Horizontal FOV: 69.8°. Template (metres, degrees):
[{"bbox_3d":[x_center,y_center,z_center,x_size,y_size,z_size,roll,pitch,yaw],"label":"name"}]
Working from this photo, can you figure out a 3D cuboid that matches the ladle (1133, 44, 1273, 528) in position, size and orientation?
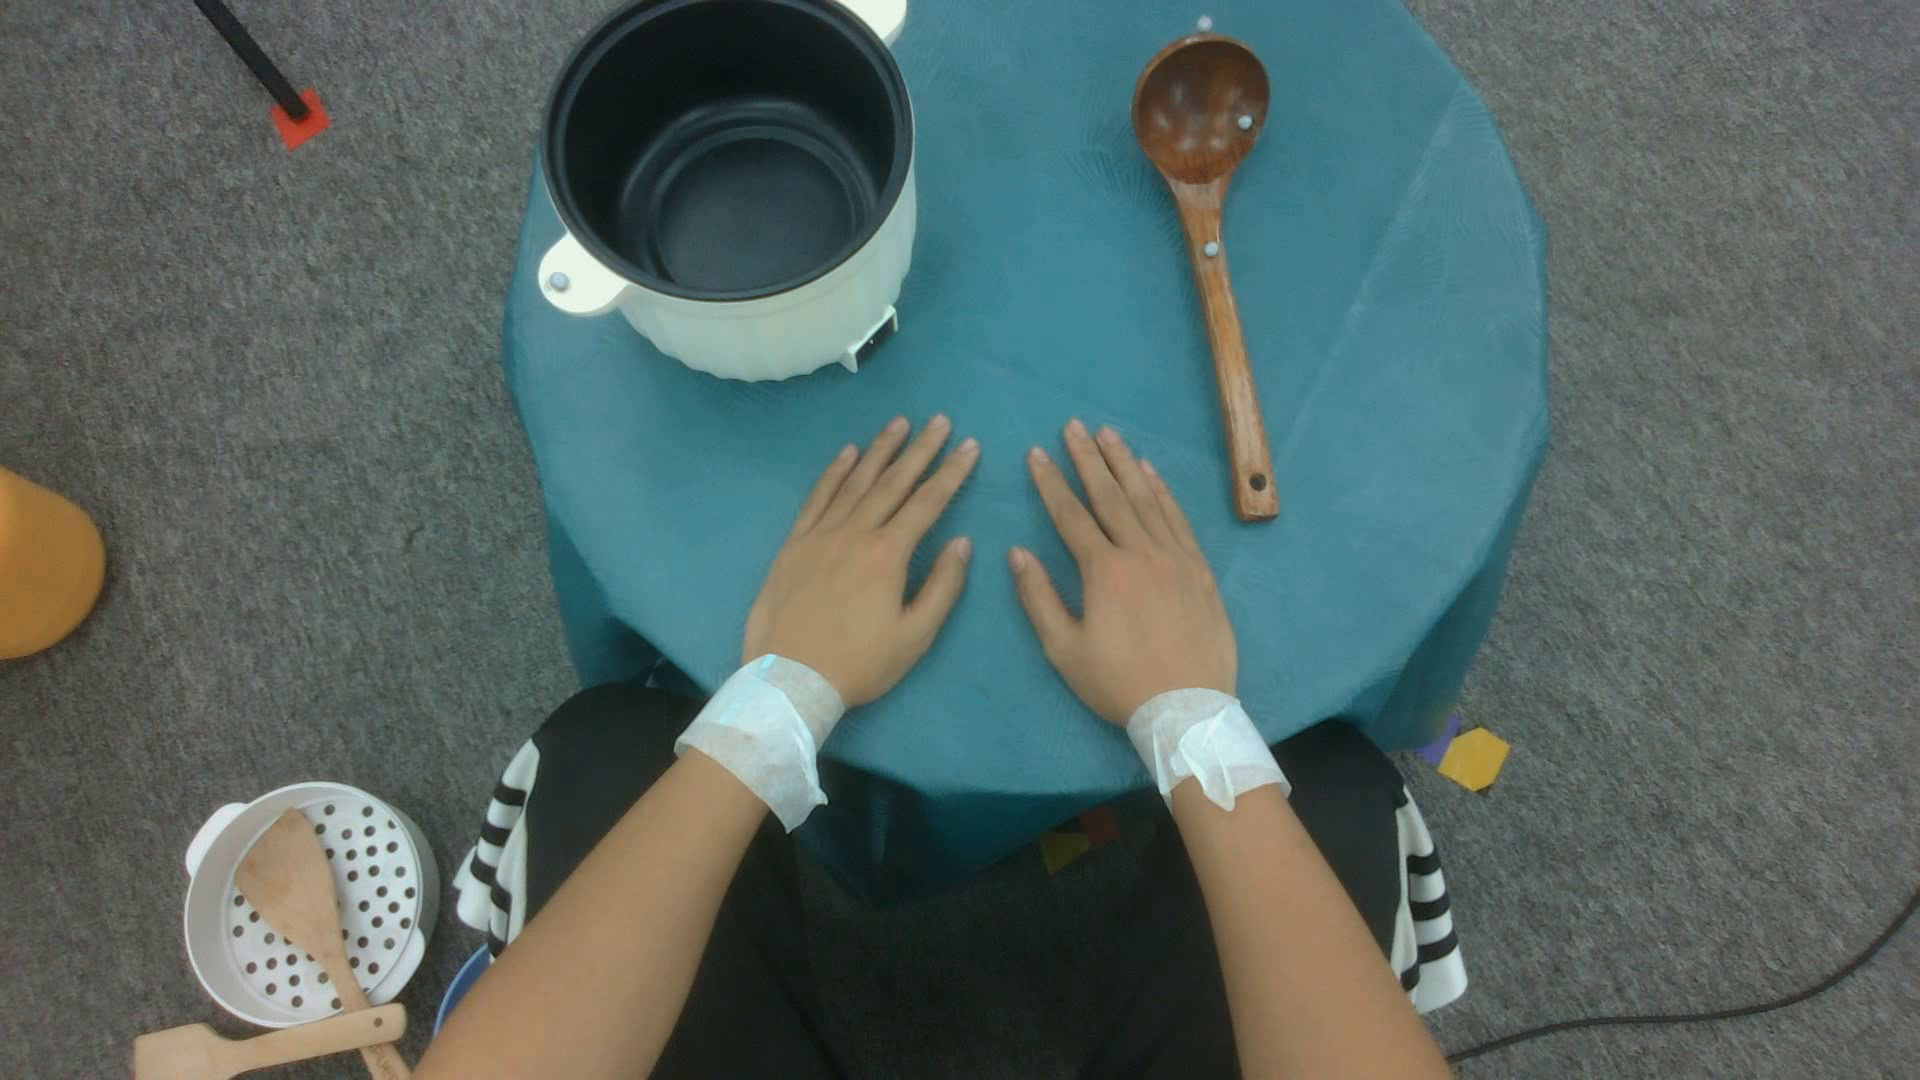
[{"bbox_3d":[0.151,-0.148,0.773,0.082,0.076,0.274,-5,73,-3],"label":"ladle"}]

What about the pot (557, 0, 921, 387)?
[{"bbox_3d":[-0.116,-0.181,0.752,0.190,0.142,0.241,40,76,8],"label":"pot"}]
